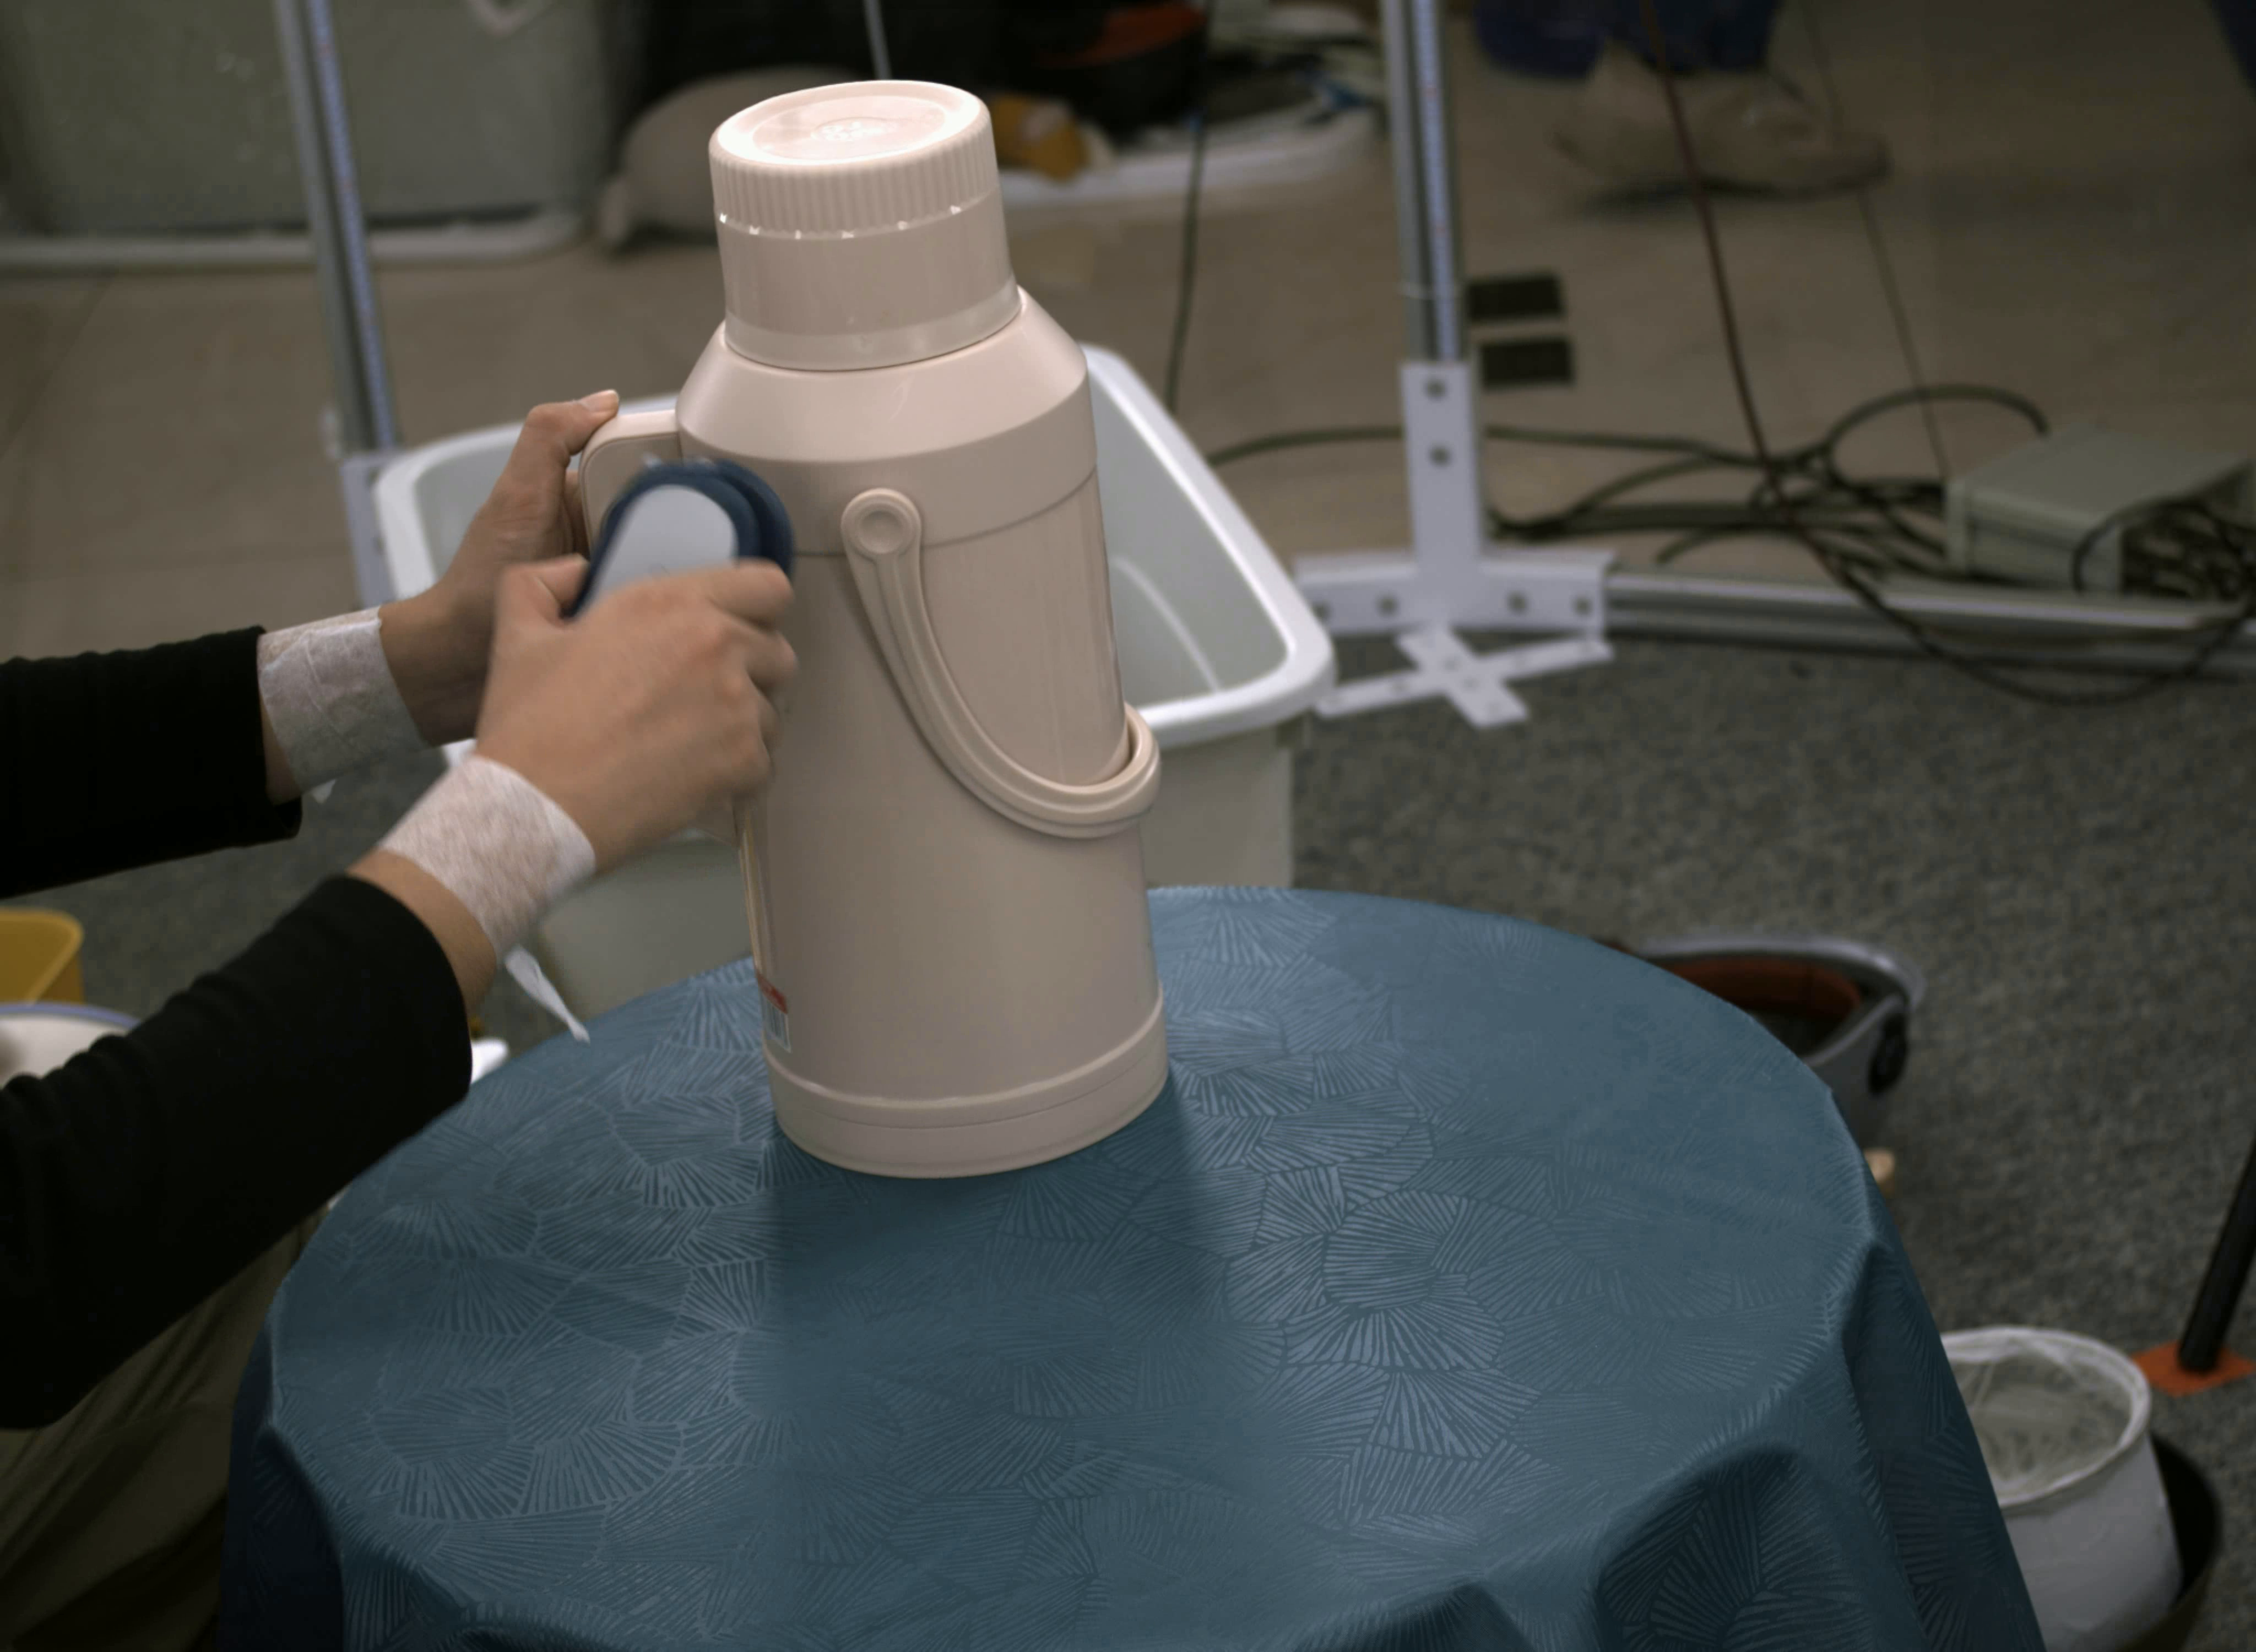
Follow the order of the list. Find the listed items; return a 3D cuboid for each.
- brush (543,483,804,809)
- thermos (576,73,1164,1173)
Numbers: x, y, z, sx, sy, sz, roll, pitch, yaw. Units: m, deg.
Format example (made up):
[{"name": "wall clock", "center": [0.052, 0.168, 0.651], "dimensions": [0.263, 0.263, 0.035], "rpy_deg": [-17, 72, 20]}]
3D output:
[{"name": "brush", "center": [-0.159, -0.064, 1.996], "dimensions": [0.067, 0.122, 0.061], "rpy_deg": [29, 4, 13]}, {"name": "thermos", "center": [-0.097, -0.077, 2.158], "dimensions": [0.207, 0.413, 0.172], "rpy_deg": [-5, 27, 1]}]
